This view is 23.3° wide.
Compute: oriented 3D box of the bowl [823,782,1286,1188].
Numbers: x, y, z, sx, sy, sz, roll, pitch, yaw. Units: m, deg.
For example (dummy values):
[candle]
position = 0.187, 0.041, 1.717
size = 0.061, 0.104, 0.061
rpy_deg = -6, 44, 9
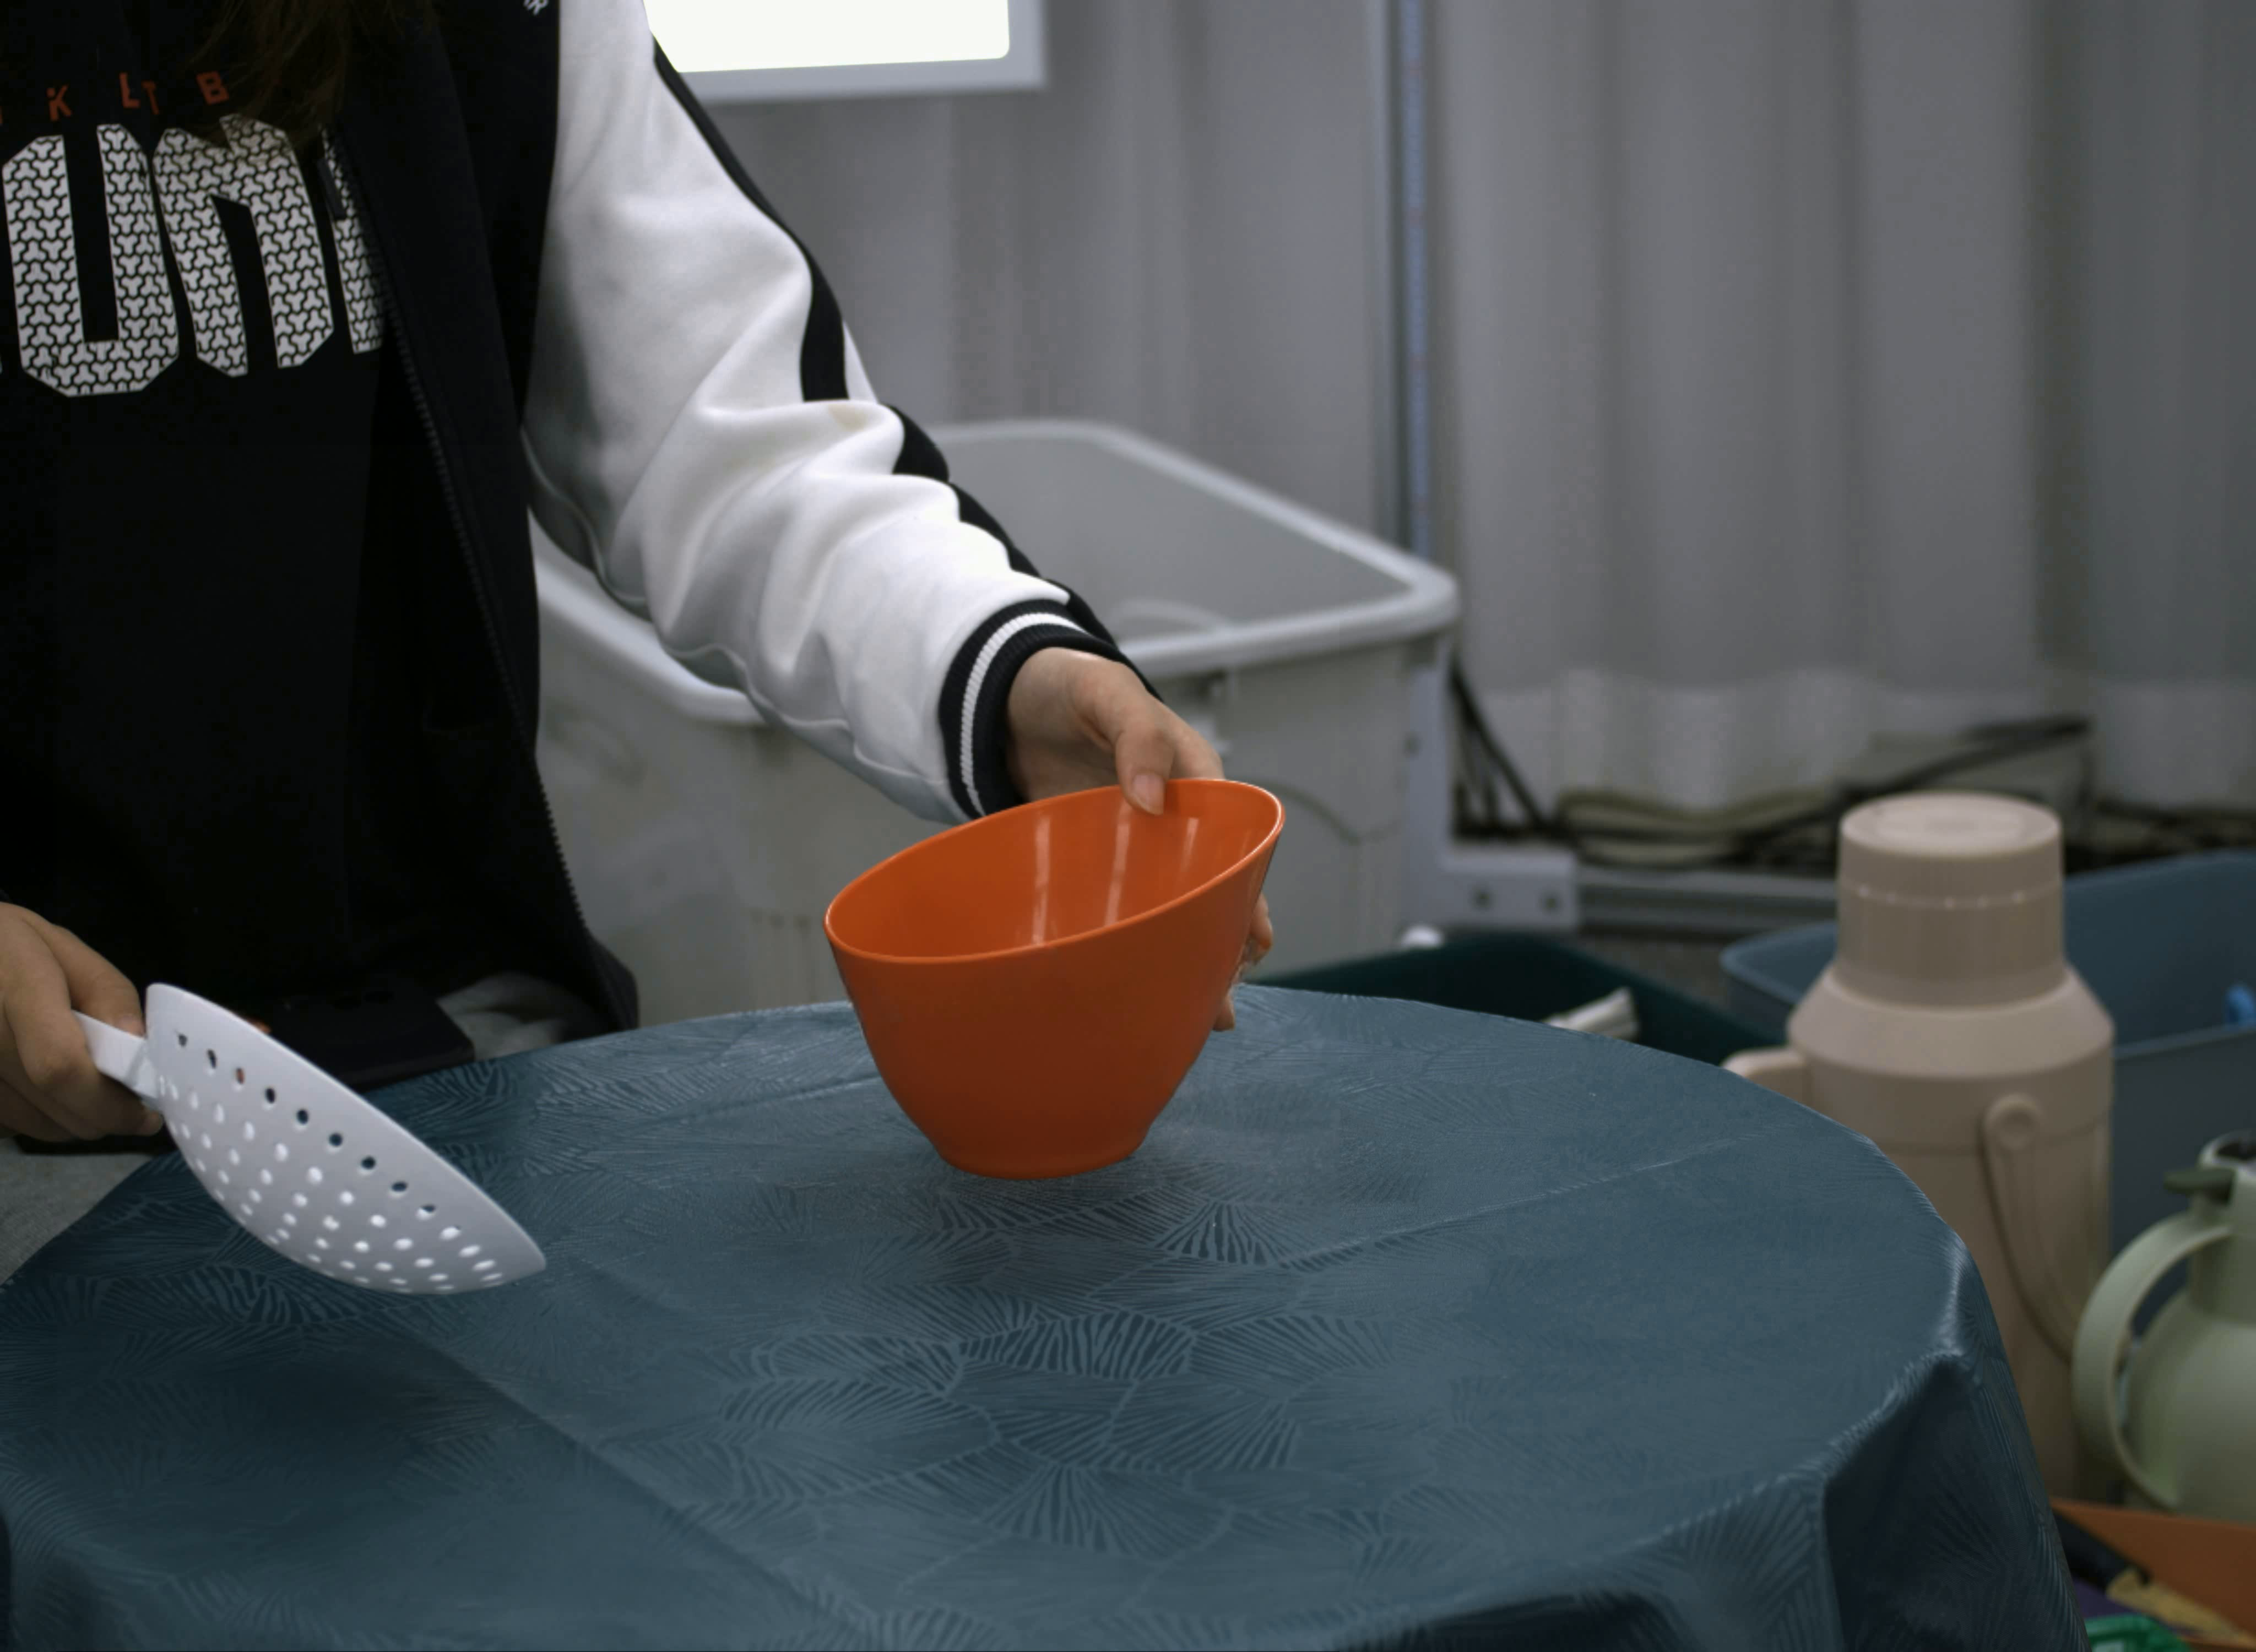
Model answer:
[bowl]
position = -0.020, 0.053, 1.714
size = 0.147, 0.104, 0.149
rpy_deg = -5, 19, 1

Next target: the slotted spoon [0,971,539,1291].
[slotted spoon]
position = -0.282, 0.077, 1.627
size = 0.046, 0.134, 0.352
rpy_deg = -51, 29, -11
